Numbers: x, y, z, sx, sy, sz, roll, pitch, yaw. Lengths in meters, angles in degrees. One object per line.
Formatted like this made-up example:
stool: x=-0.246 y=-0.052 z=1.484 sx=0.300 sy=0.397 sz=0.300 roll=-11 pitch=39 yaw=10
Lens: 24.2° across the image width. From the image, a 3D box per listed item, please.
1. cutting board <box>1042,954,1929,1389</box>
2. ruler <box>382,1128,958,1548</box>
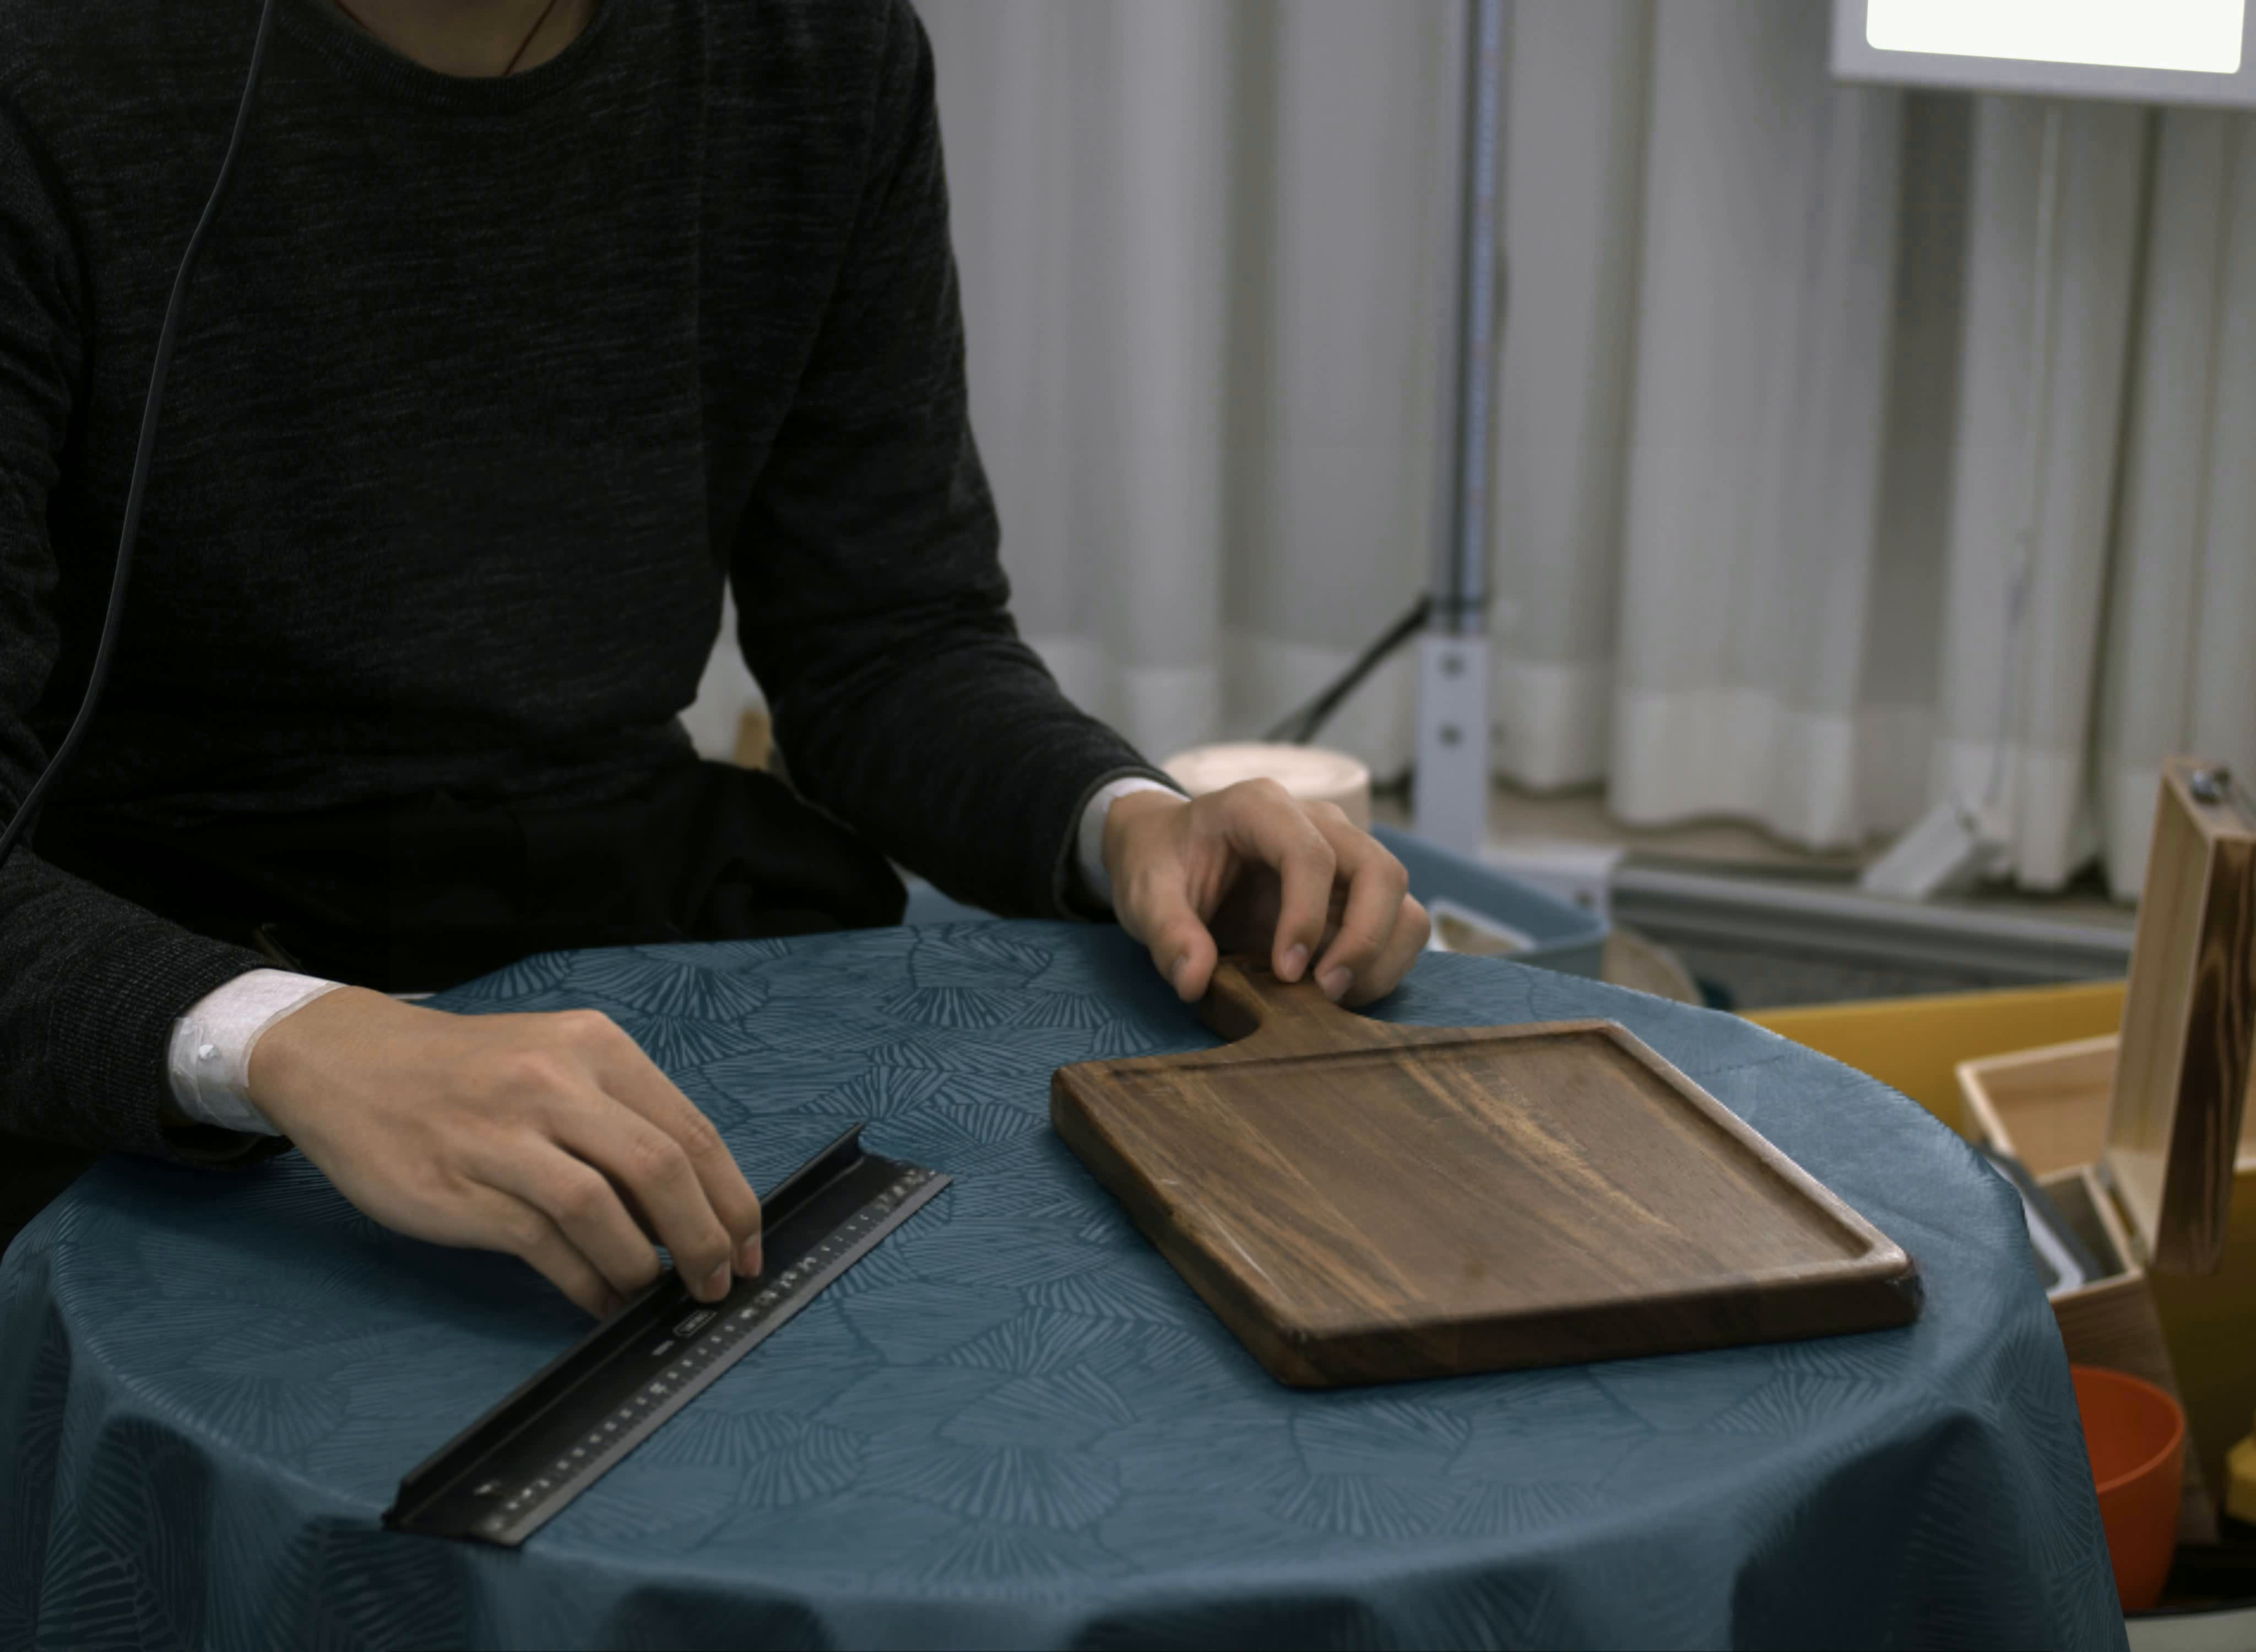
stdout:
cutting board: x=0.088 y=0.097 z=1.640 sx=0.201 sy=0.023 sz=0.348 roll=-4 pitch=16 yaw=-17
ruler: x=-0.122 y=0.139 z=1.490 sx=0.039 sy=0.017 sz=0.313 roll=9 pitch=17 yaw=19
